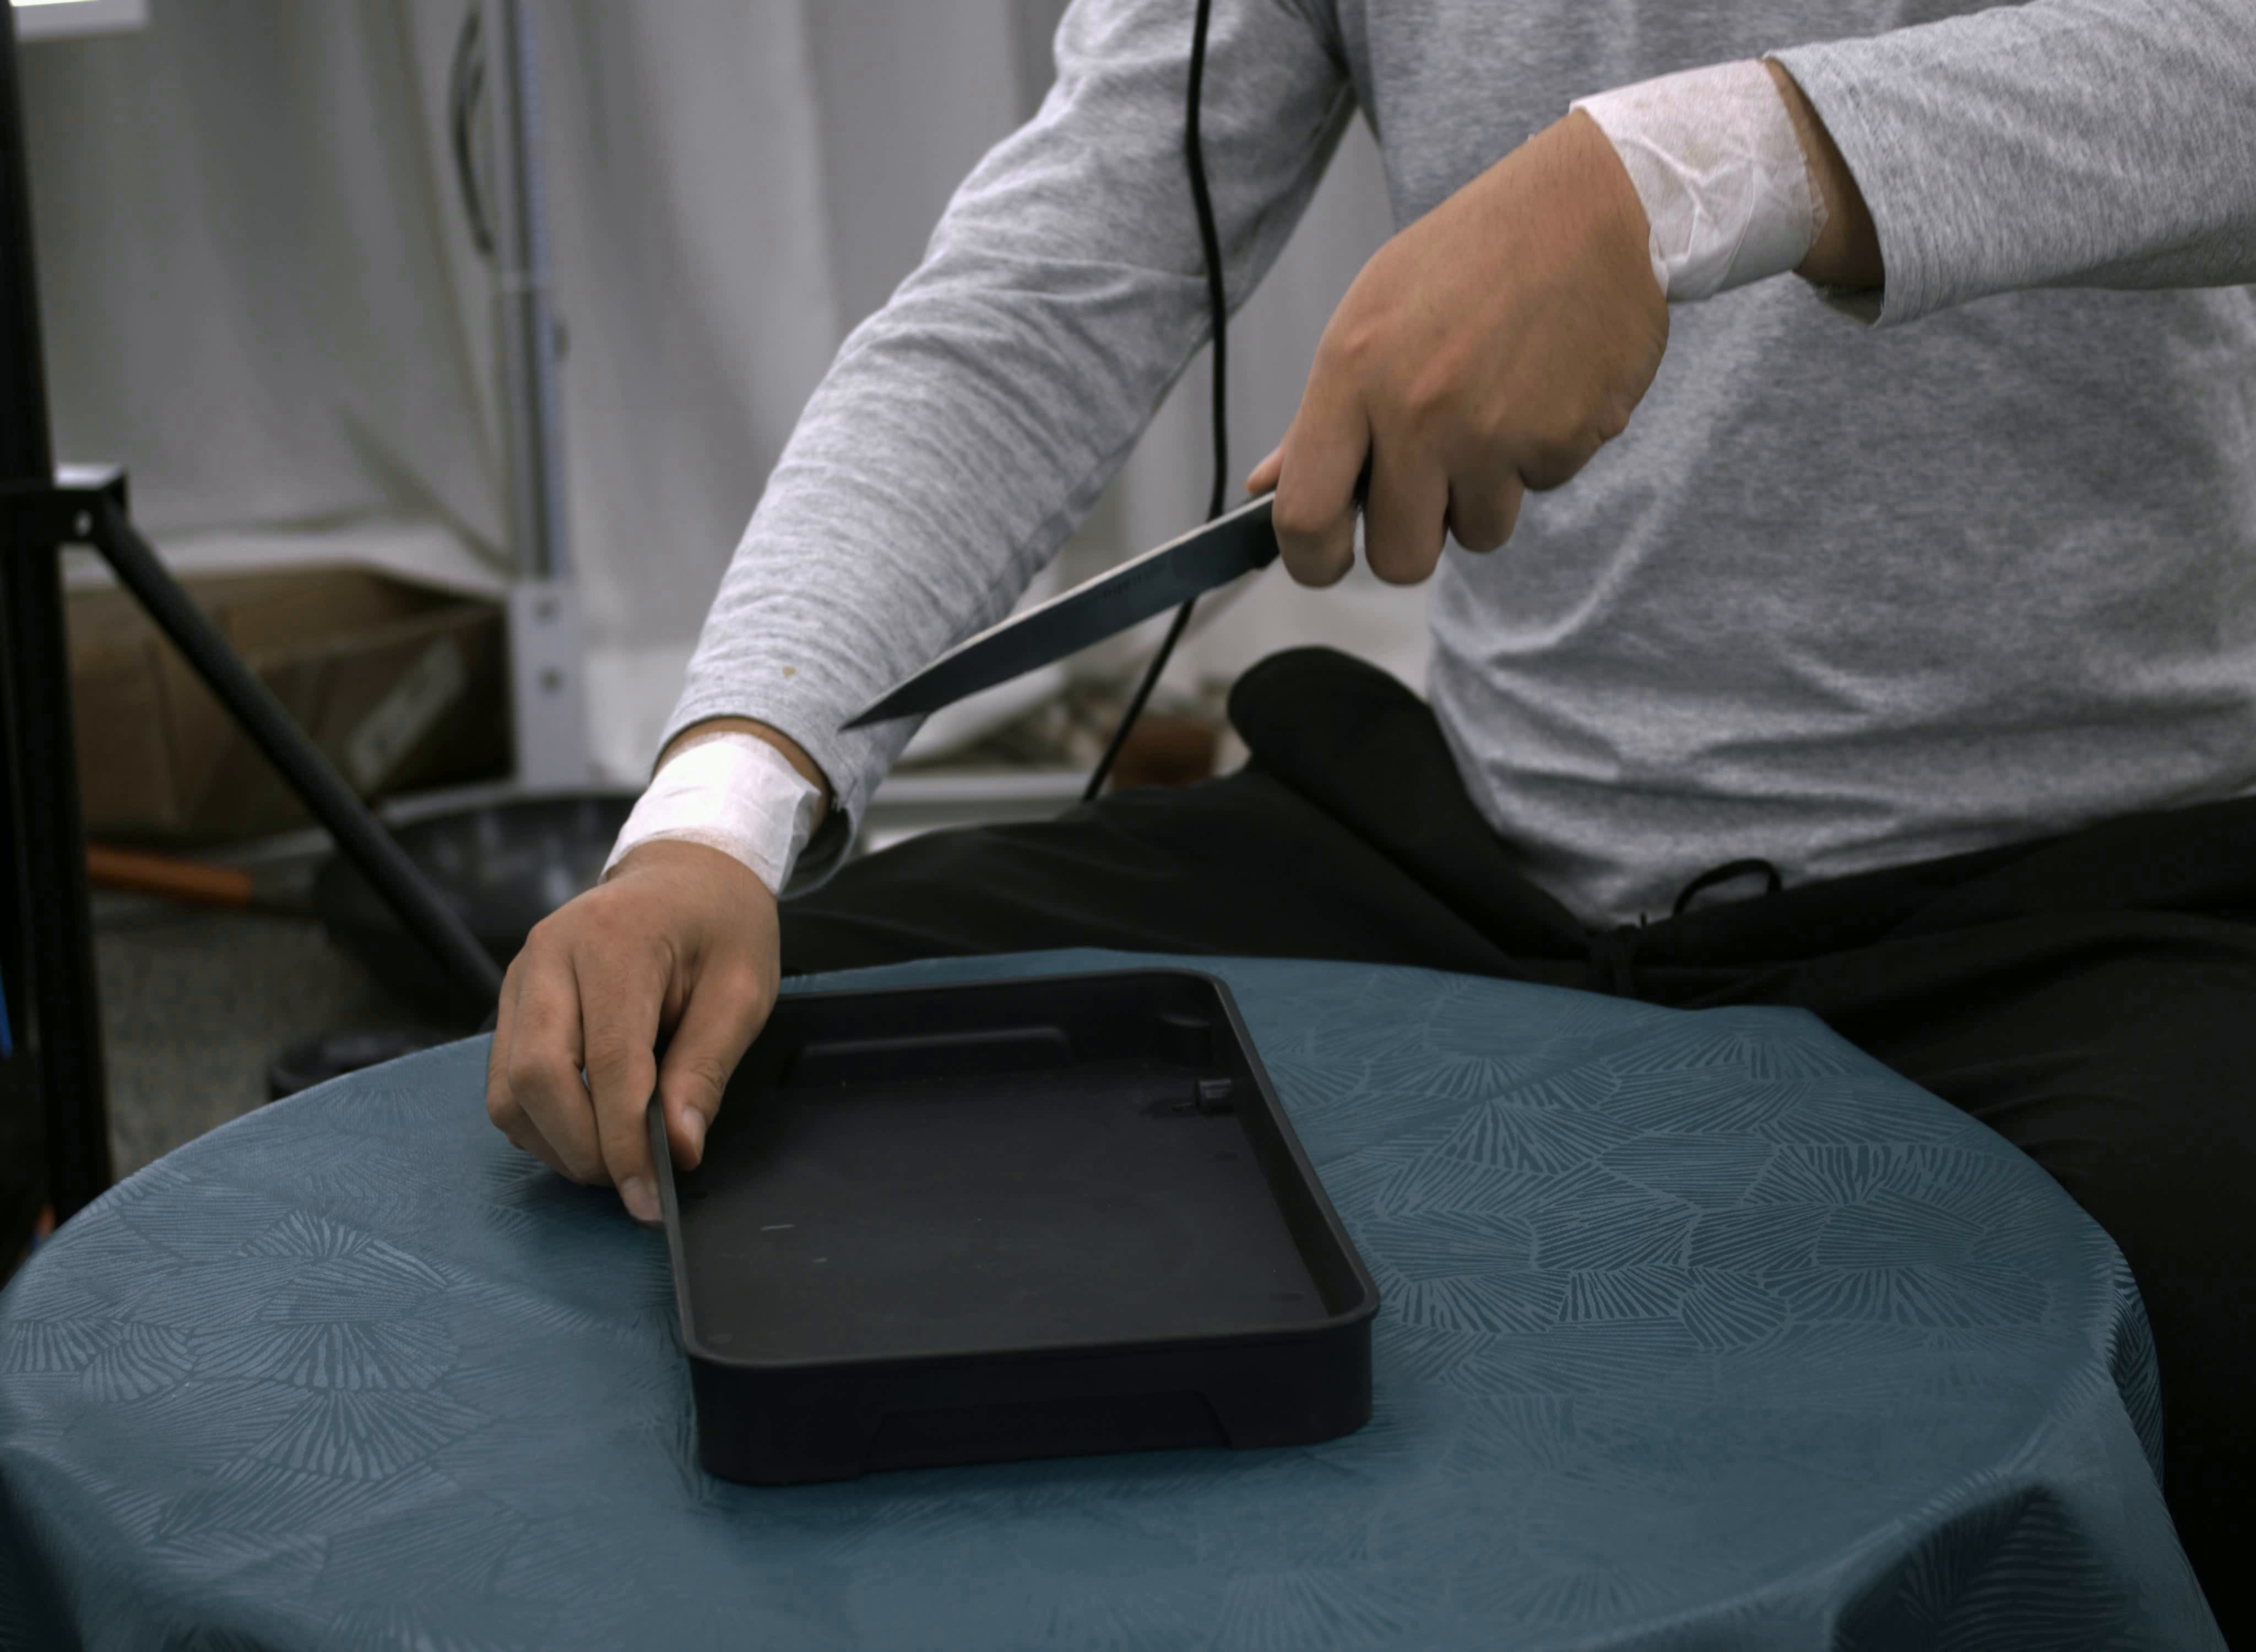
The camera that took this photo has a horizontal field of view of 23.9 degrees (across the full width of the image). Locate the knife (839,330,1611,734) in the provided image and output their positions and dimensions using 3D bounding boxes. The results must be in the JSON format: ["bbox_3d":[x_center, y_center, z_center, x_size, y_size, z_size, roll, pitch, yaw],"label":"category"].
[{"bbox_3d":[0.025,-0.081,1.480,0.237,0.024,0.016,-26,42,1],"label":"knife"}]

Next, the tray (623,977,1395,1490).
[{"bbox_3d":[-0.041,0.109,1.502,0.182,0.037,0.321,-4,15,-8],"label":"tray"}]
